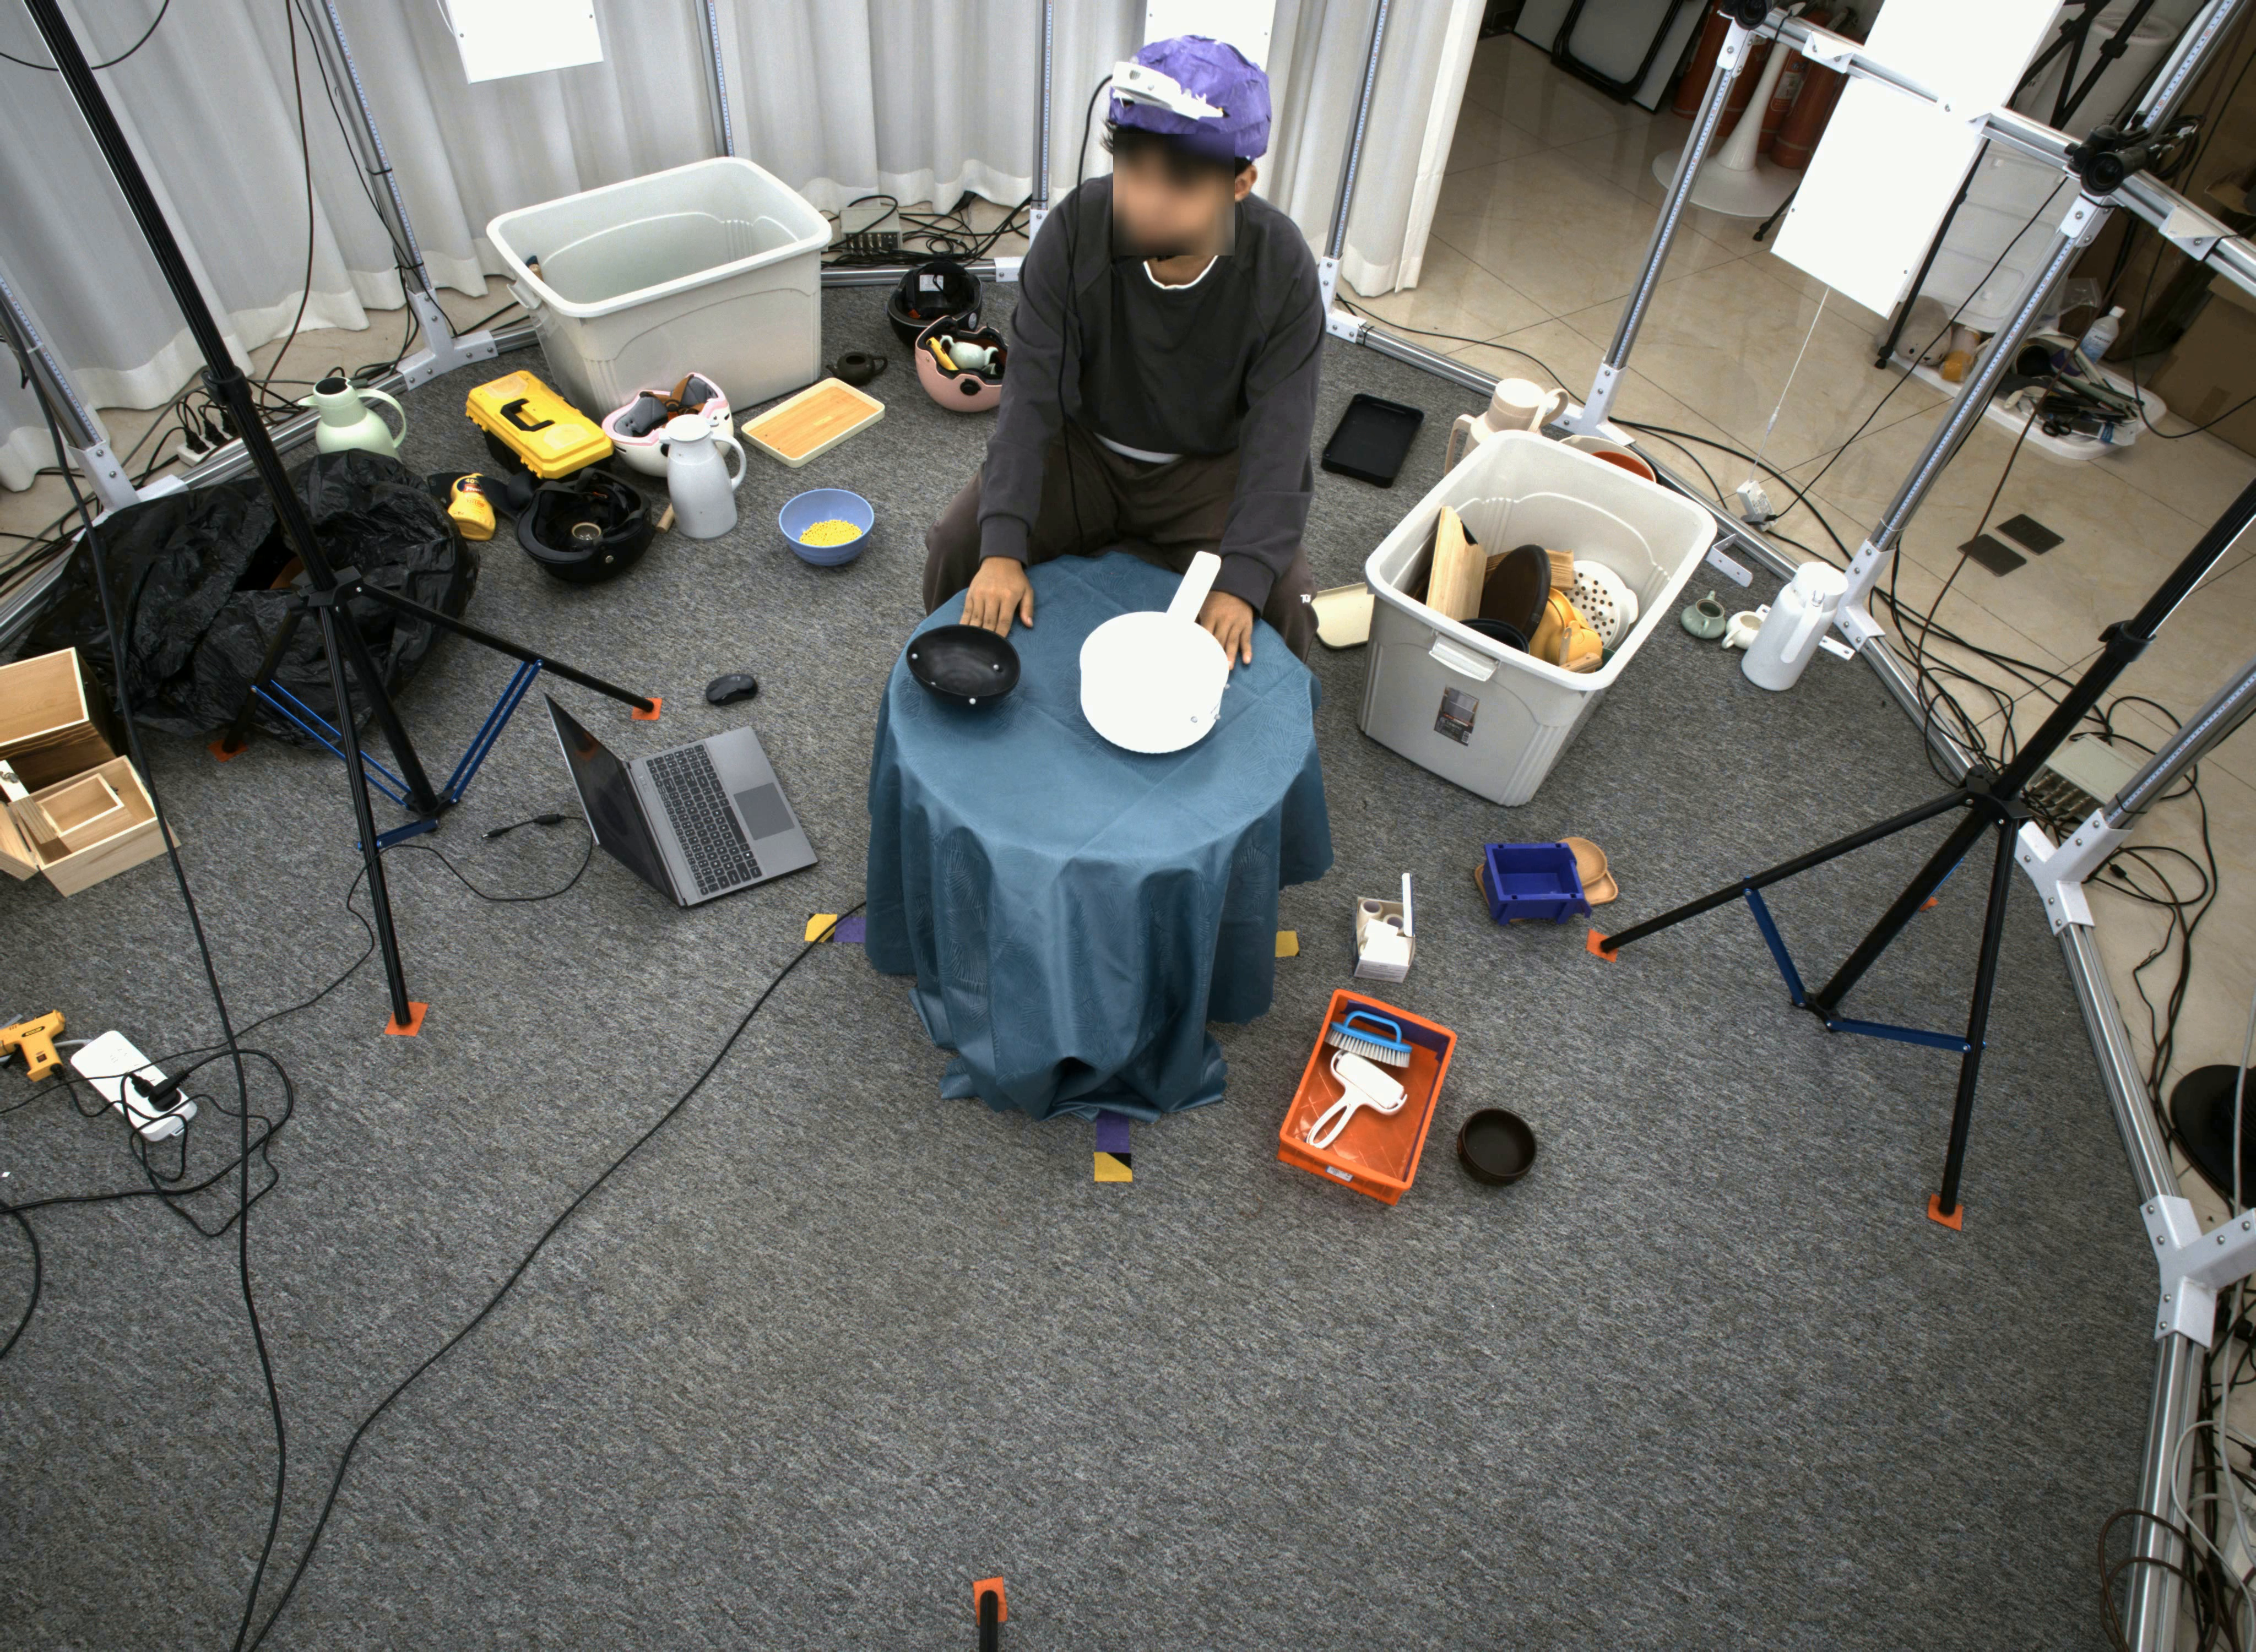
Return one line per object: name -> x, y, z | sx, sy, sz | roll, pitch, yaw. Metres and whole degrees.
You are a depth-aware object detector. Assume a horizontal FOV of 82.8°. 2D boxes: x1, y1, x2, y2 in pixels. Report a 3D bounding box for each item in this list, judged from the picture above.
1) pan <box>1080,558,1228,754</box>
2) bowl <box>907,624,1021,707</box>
pan -> 0.058, -0.244, 1.824 | 0.202, 0.099, 0.362 | 15, 48, 11
bowl -> -0.229, -0.212, 1.790 | 0.172, 0.065, 0.139 | 26, 52, 19
